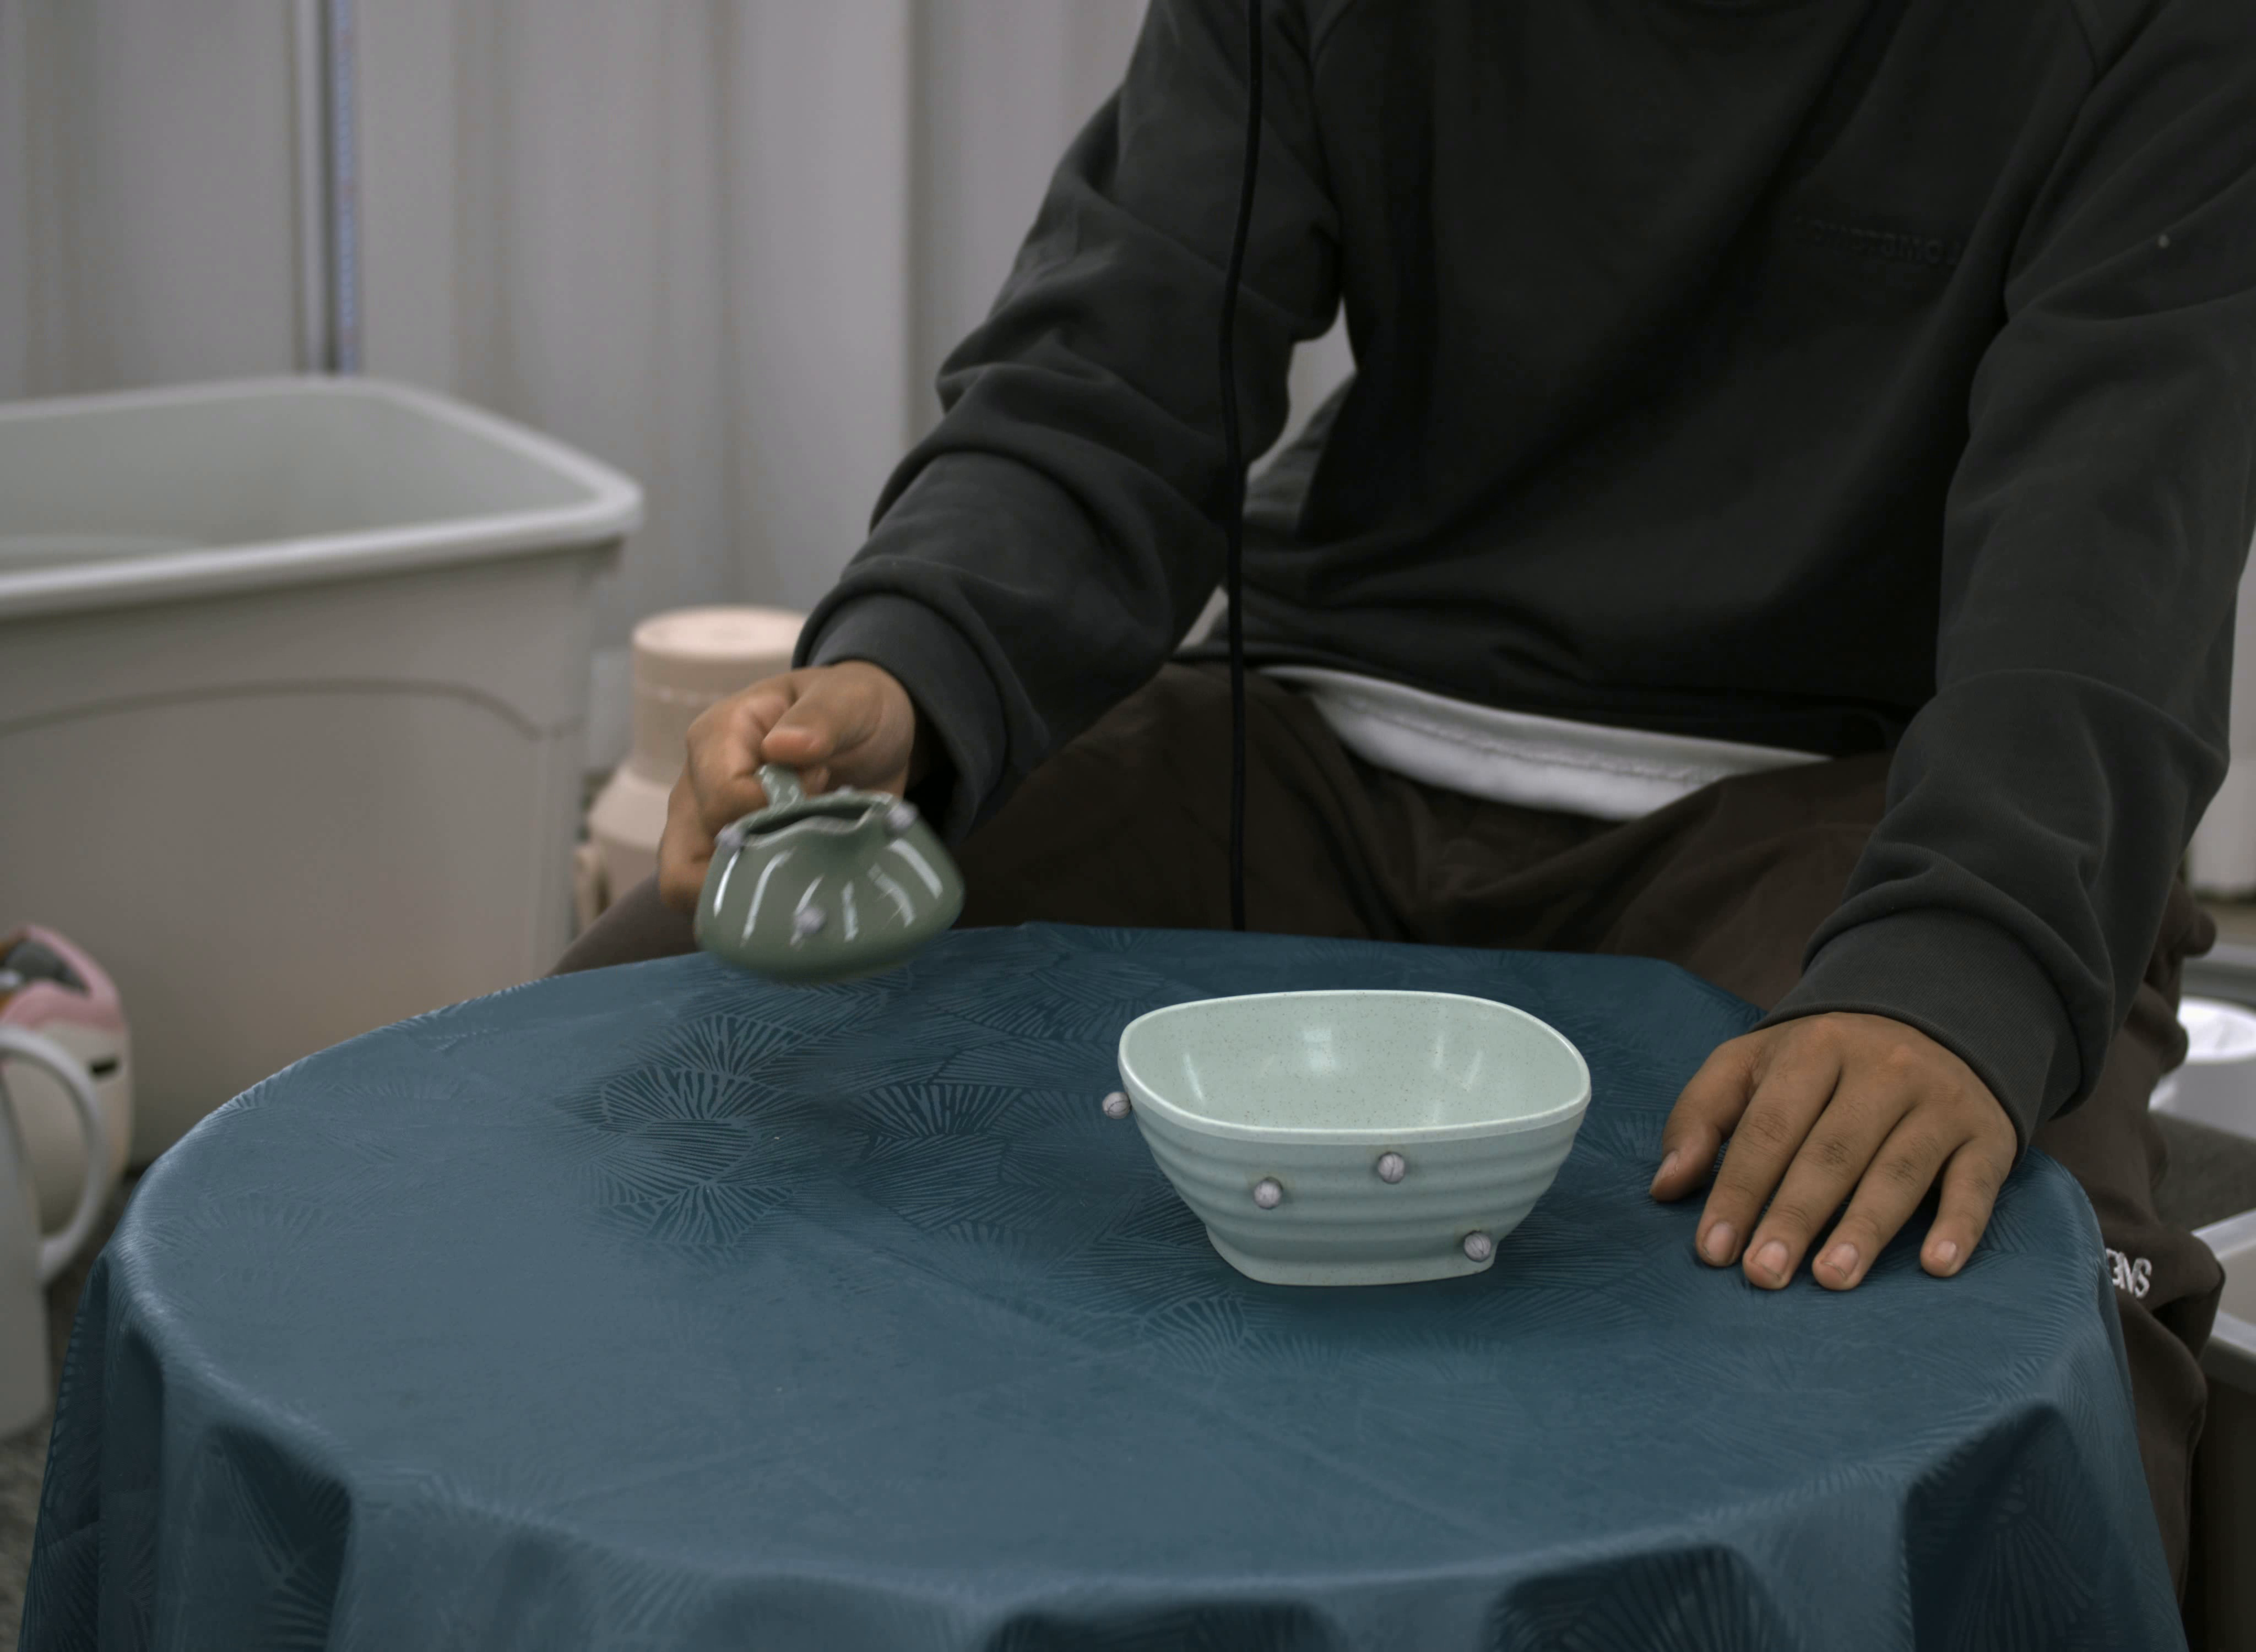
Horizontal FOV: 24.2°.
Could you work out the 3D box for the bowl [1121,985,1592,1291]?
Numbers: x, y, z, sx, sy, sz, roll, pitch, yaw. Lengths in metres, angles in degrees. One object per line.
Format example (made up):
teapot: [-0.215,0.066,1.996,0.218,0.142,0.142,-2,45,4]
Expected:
bowl: [0.068,0.097,1.582,0.151,0.059,0.150,1,17,0]

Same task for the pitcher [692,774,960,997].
pitcher: [-0.098,0.018,1.646,0.084,0.056,0.111,-13,14,-17]
